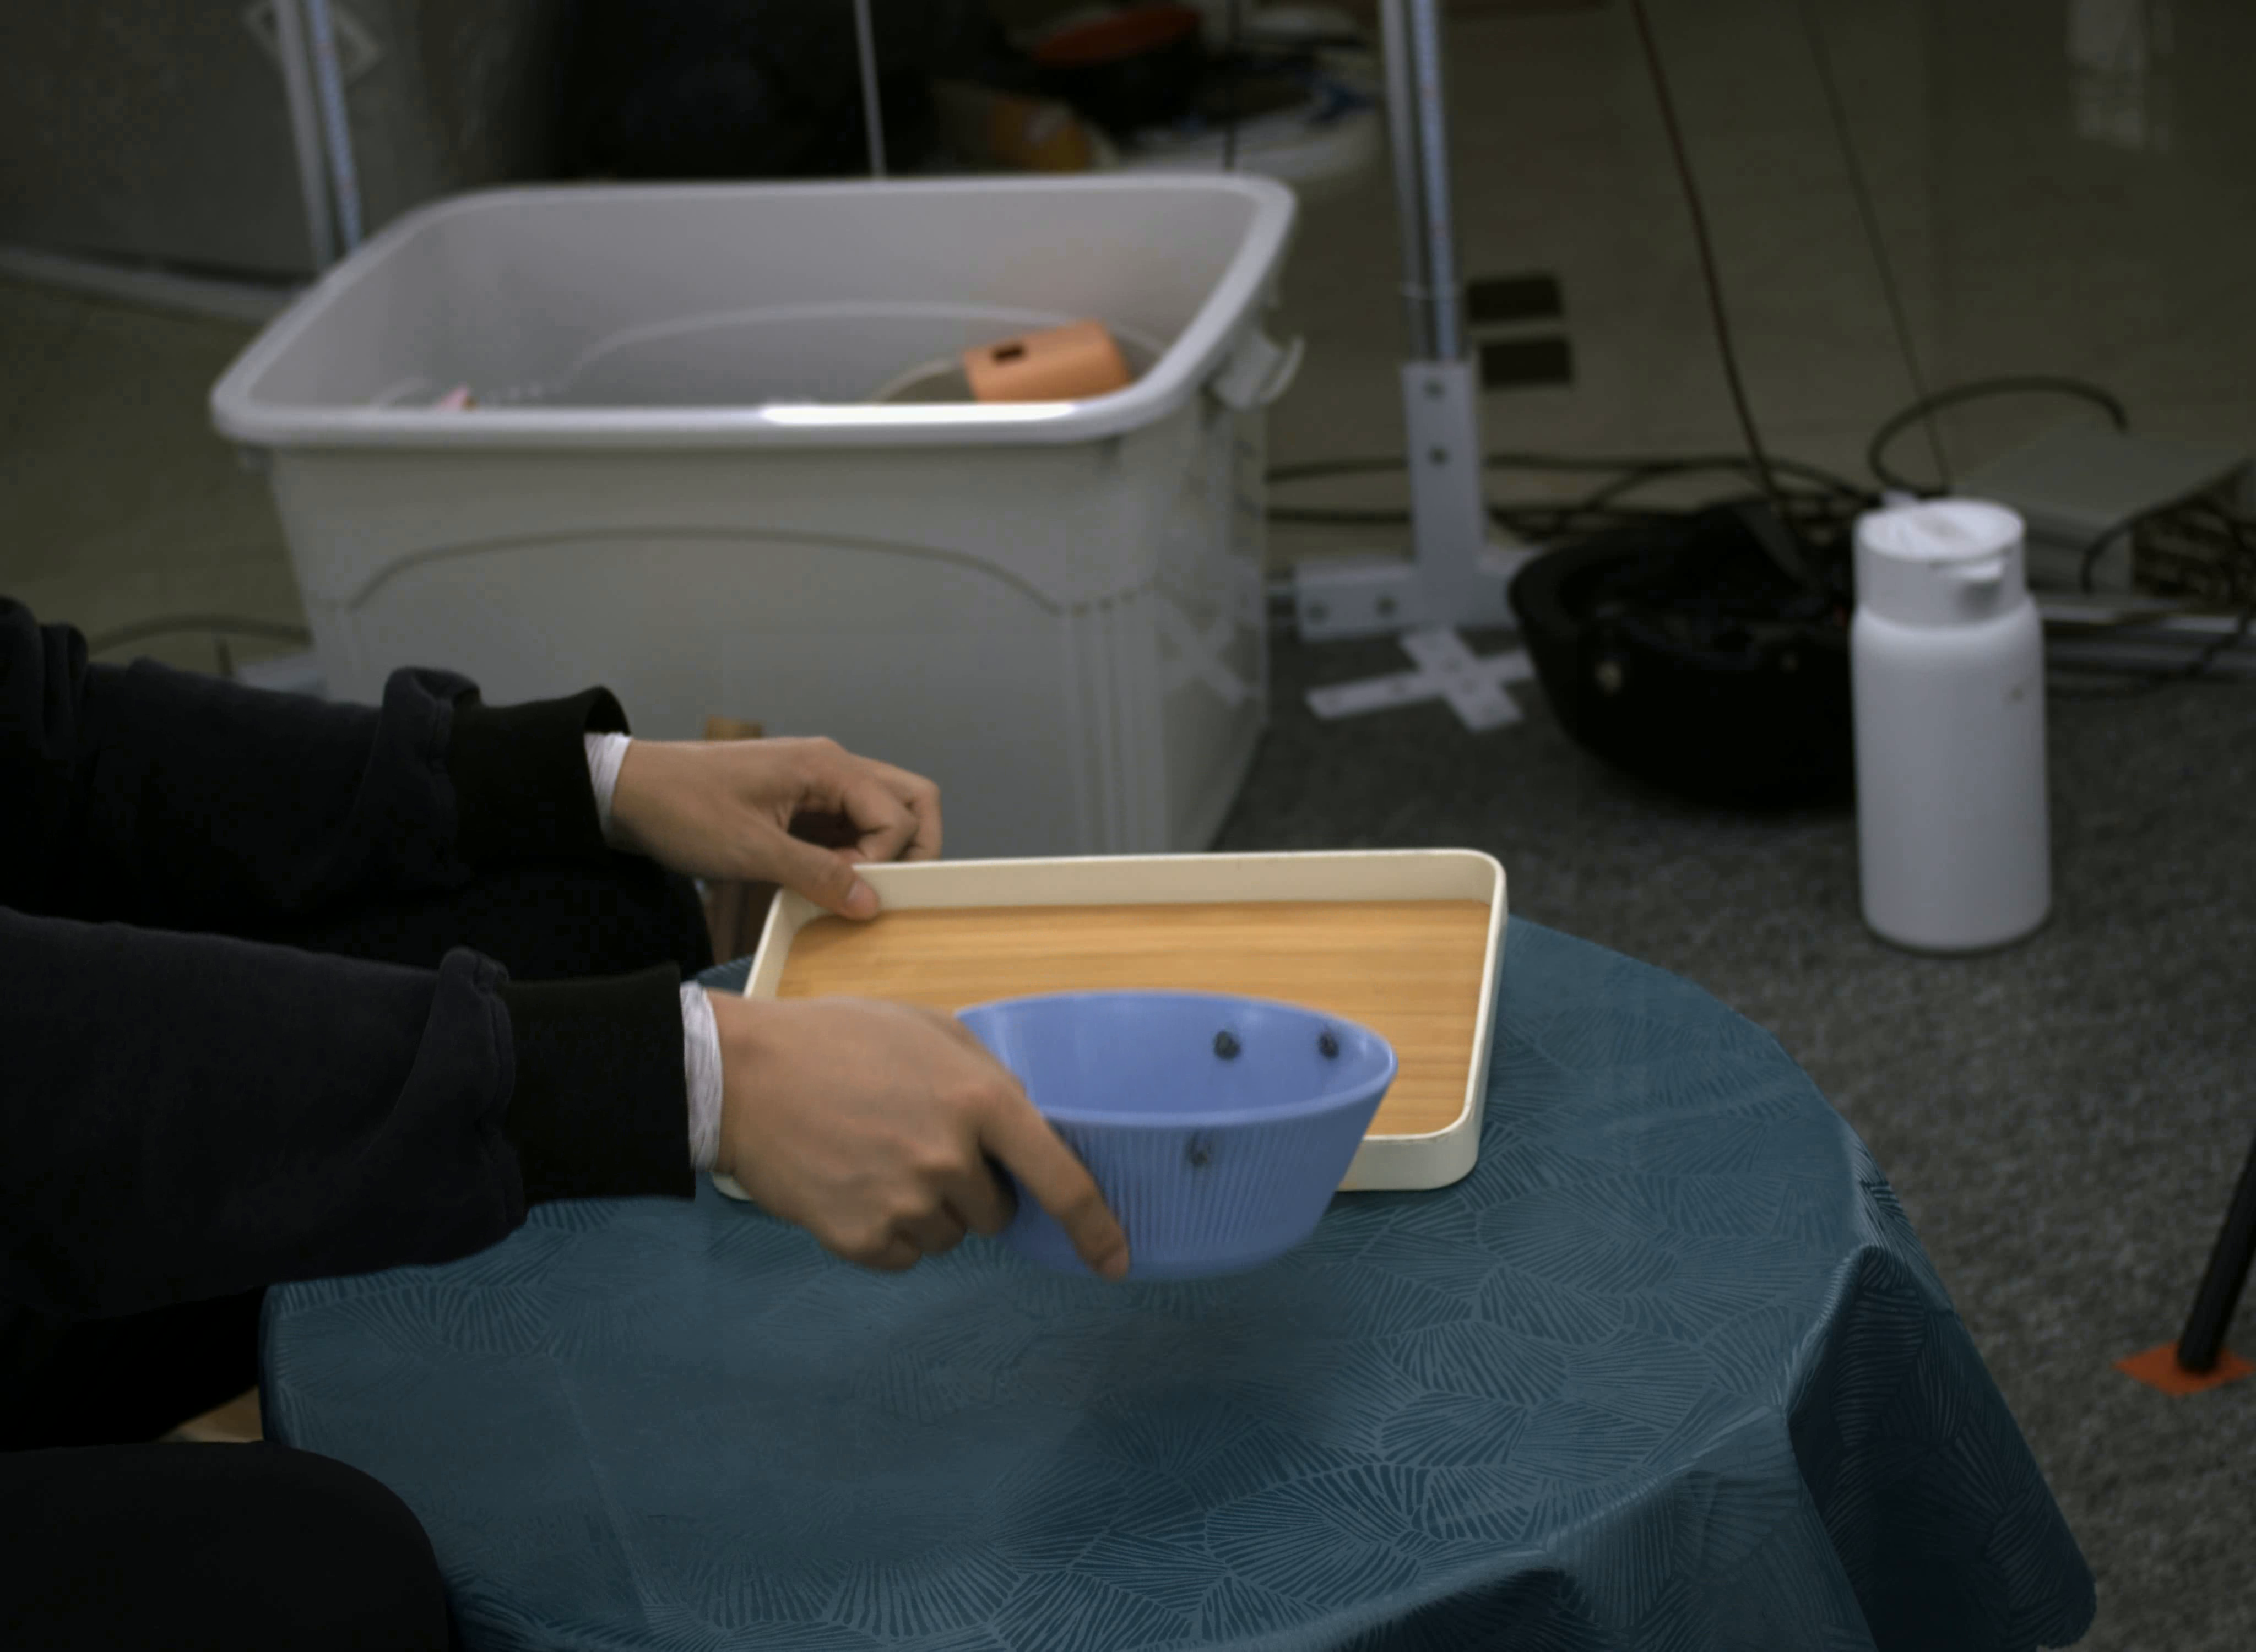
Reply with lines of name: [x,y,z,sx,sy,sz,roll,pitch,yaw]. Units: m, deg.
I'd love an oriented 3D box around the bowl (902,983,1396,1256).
bowl: [0.006,0.106,2.011,0.176,0.071,0.174,2,12,0]

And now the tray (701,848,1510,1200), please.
tray: [-0.006,0.077,2.218,0.300,0.028,0.188,-1,36,10]
